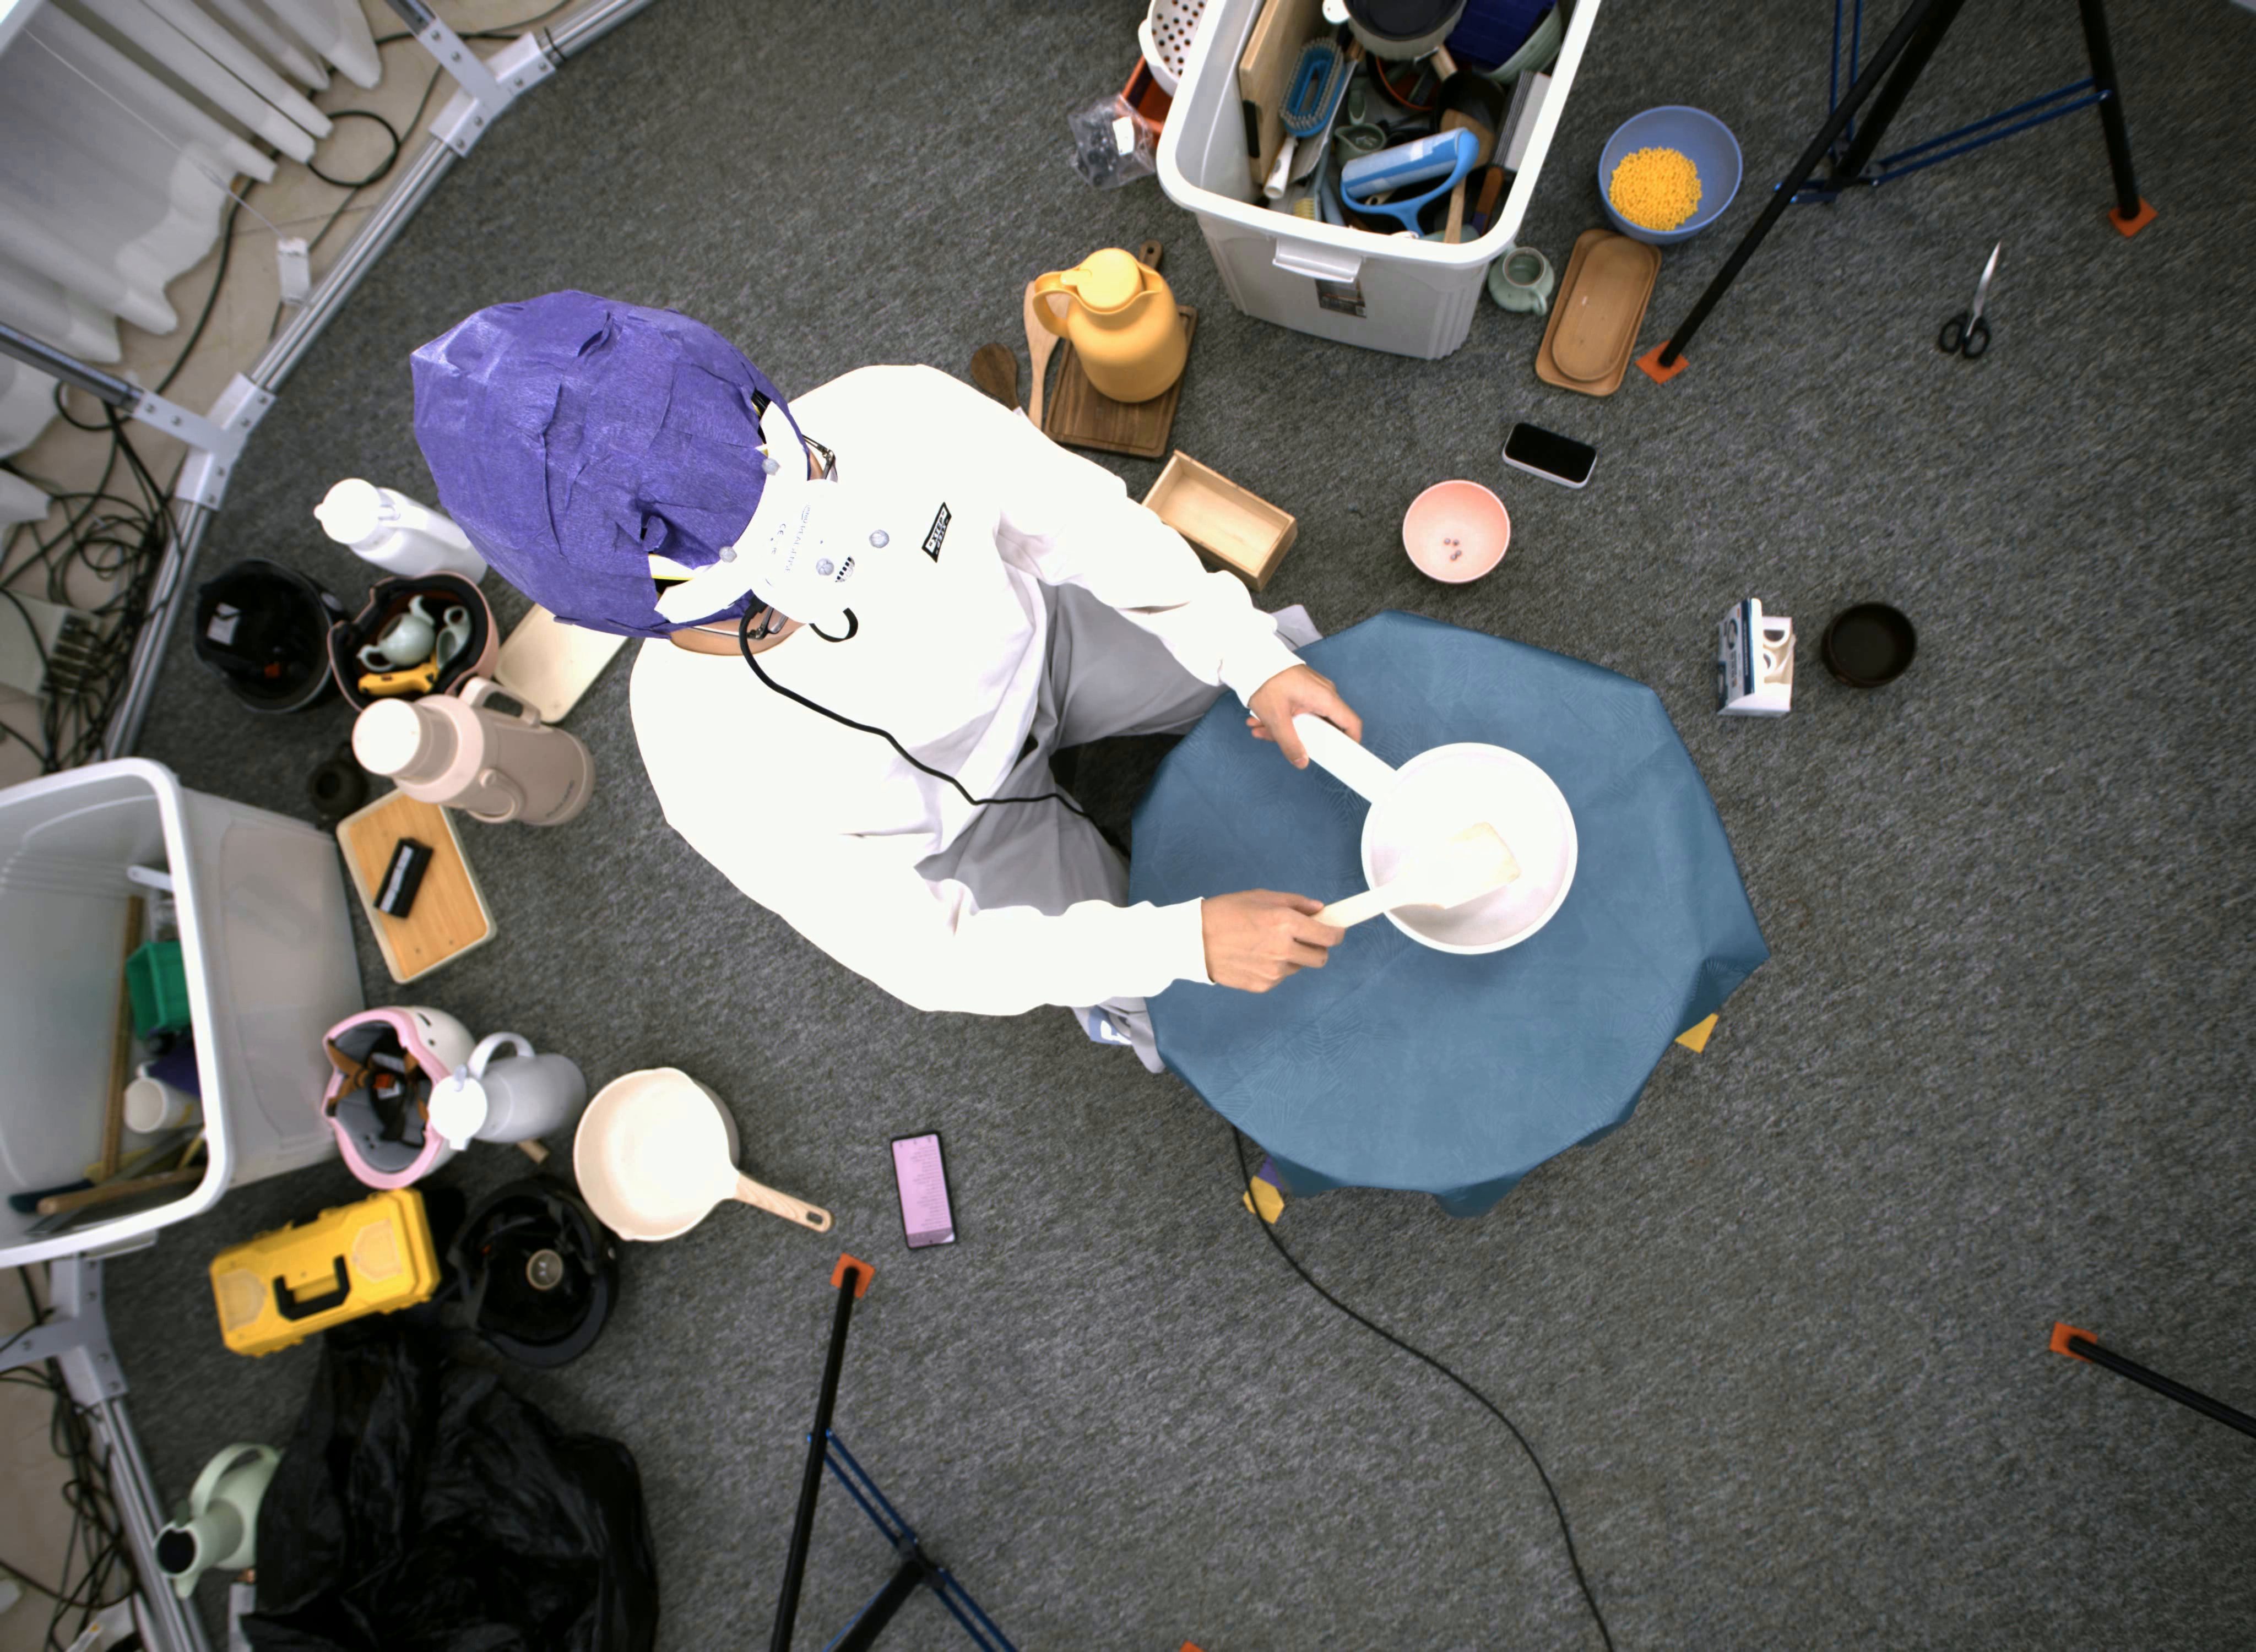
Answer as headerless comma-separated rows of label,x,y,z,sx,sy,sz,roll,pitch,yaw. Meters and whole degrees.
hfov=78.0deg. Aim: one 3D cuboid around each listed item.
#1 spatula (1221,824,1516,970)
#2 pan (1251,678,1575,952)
spatula,0.224,0.074,1.307,0.292,0.011,0.071,-21,58,-6
pan,0.278,-0.026,1.374,0.353,0.101,0.203,38,102,15
